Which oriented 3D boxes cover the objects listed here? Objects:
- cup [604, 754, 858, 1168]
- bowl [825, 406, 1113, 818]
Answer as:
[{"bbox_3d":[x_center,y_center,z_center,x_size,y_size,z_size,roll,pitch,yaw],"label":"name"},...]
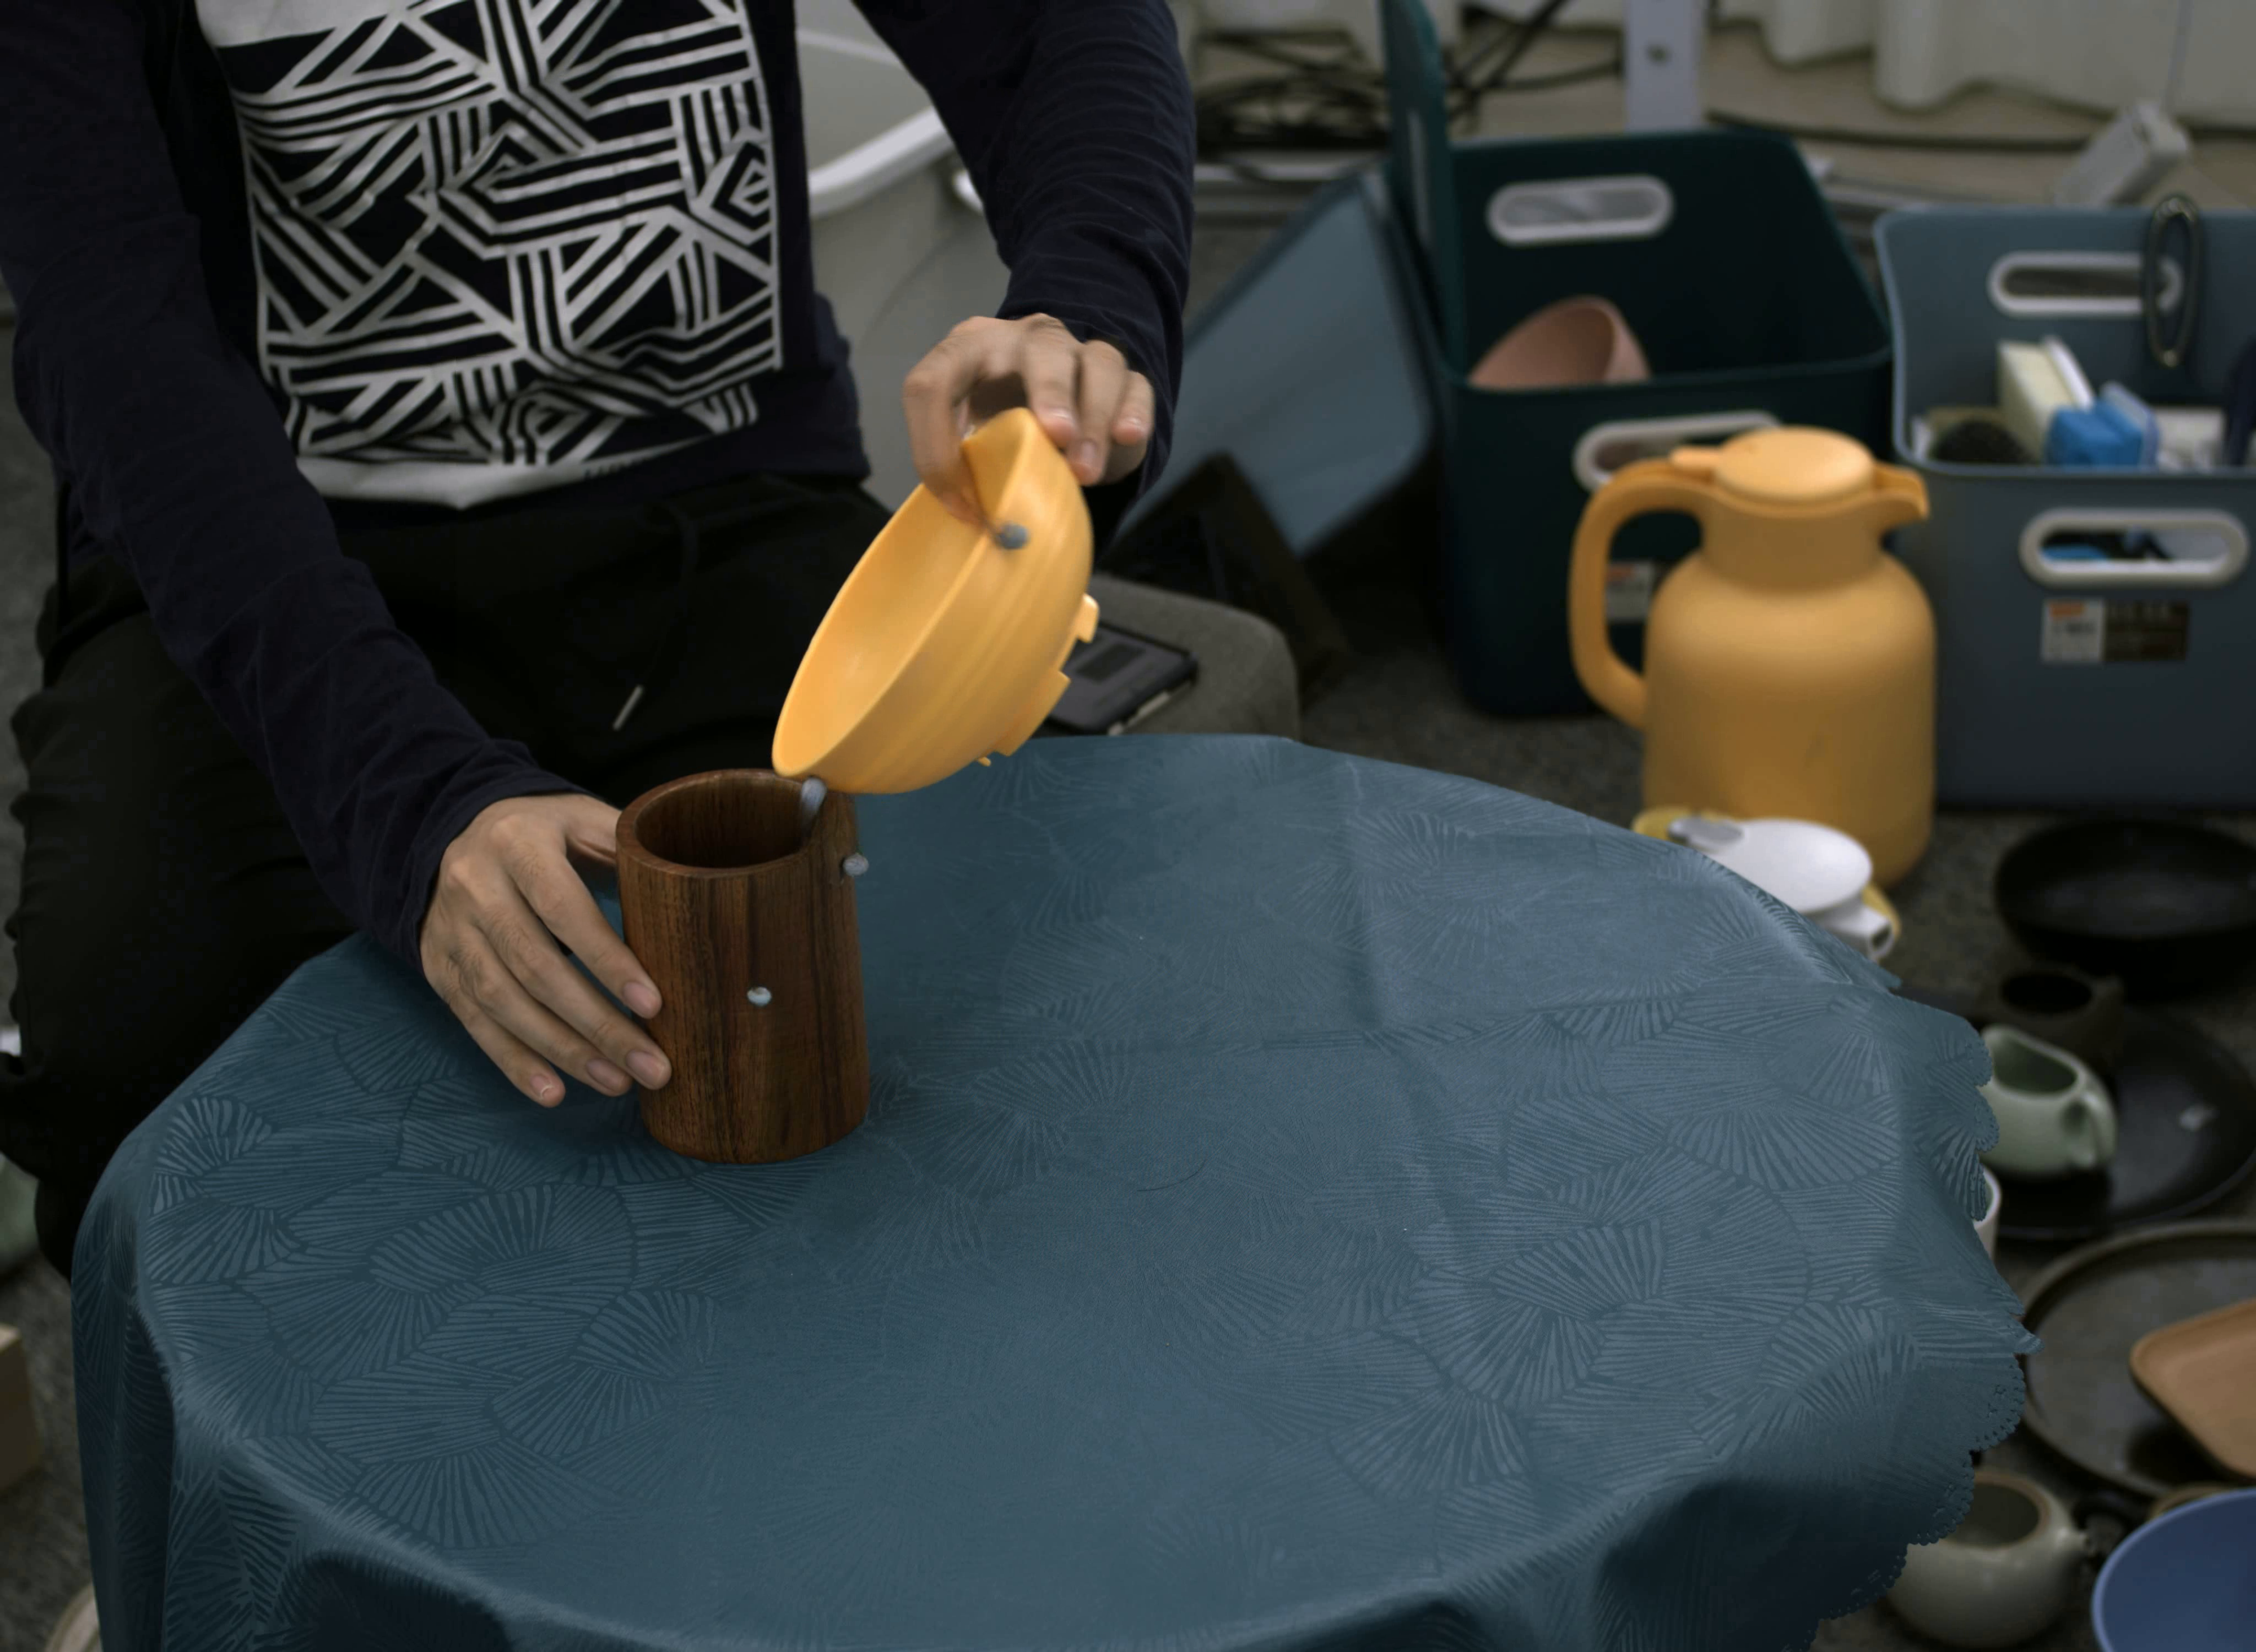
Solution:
[{"bbox_3d":[-0.133,0.045,1.894,0.087,0.117,0.089,0,25,0],"label":"cup"},{"bbox_3d":[-0.045,-0.061,1.851,0.060,0.143,0.147,23,26,-7],"label":"bowl"}]
